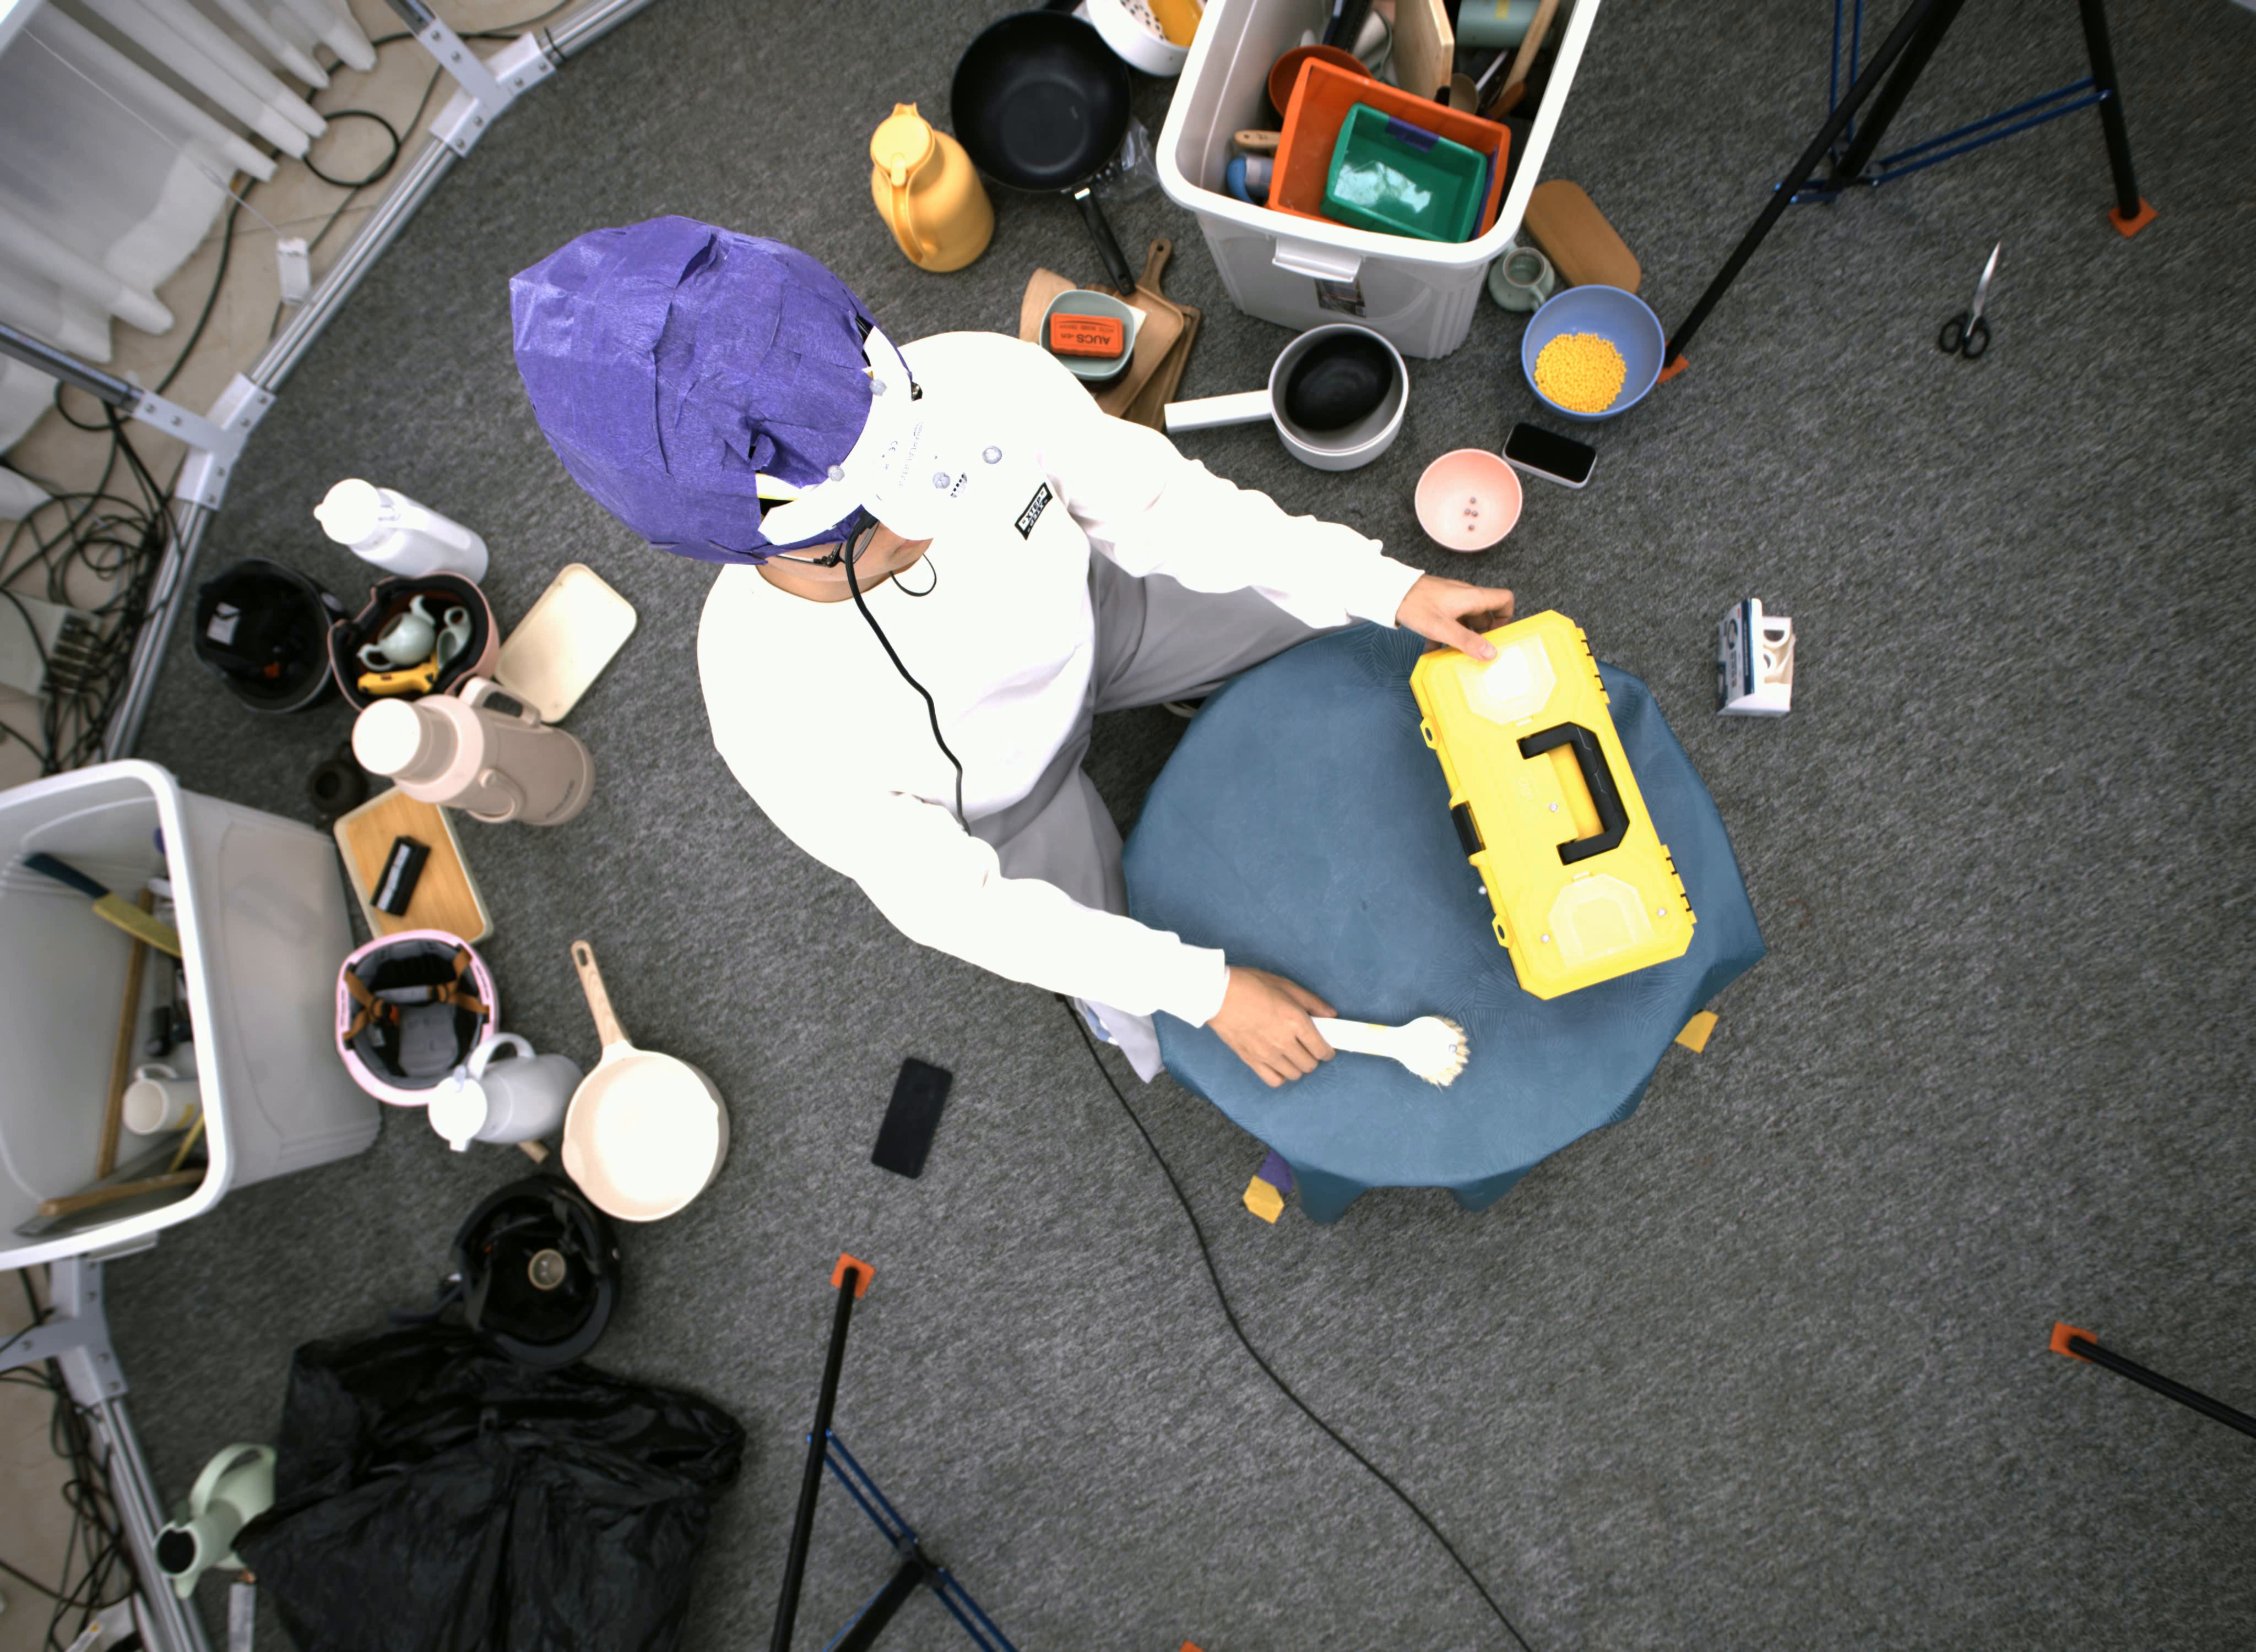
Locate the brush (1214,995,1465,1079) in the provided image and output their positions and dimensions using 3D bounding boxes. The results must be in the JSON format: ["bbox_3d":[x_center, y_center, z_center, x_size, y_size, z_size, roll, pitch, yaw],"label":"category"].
[{"bbox_3d":[0.221,0.211,1.455,0.268,0.057,0.067,4,64,26],"label":"brush"}]

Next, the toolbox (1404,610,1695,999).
[{"bbox_3d":[0.407,-0.019,1.351,0.182,0.173,0.349,-19,82,7],"label":"toolbox"}]
